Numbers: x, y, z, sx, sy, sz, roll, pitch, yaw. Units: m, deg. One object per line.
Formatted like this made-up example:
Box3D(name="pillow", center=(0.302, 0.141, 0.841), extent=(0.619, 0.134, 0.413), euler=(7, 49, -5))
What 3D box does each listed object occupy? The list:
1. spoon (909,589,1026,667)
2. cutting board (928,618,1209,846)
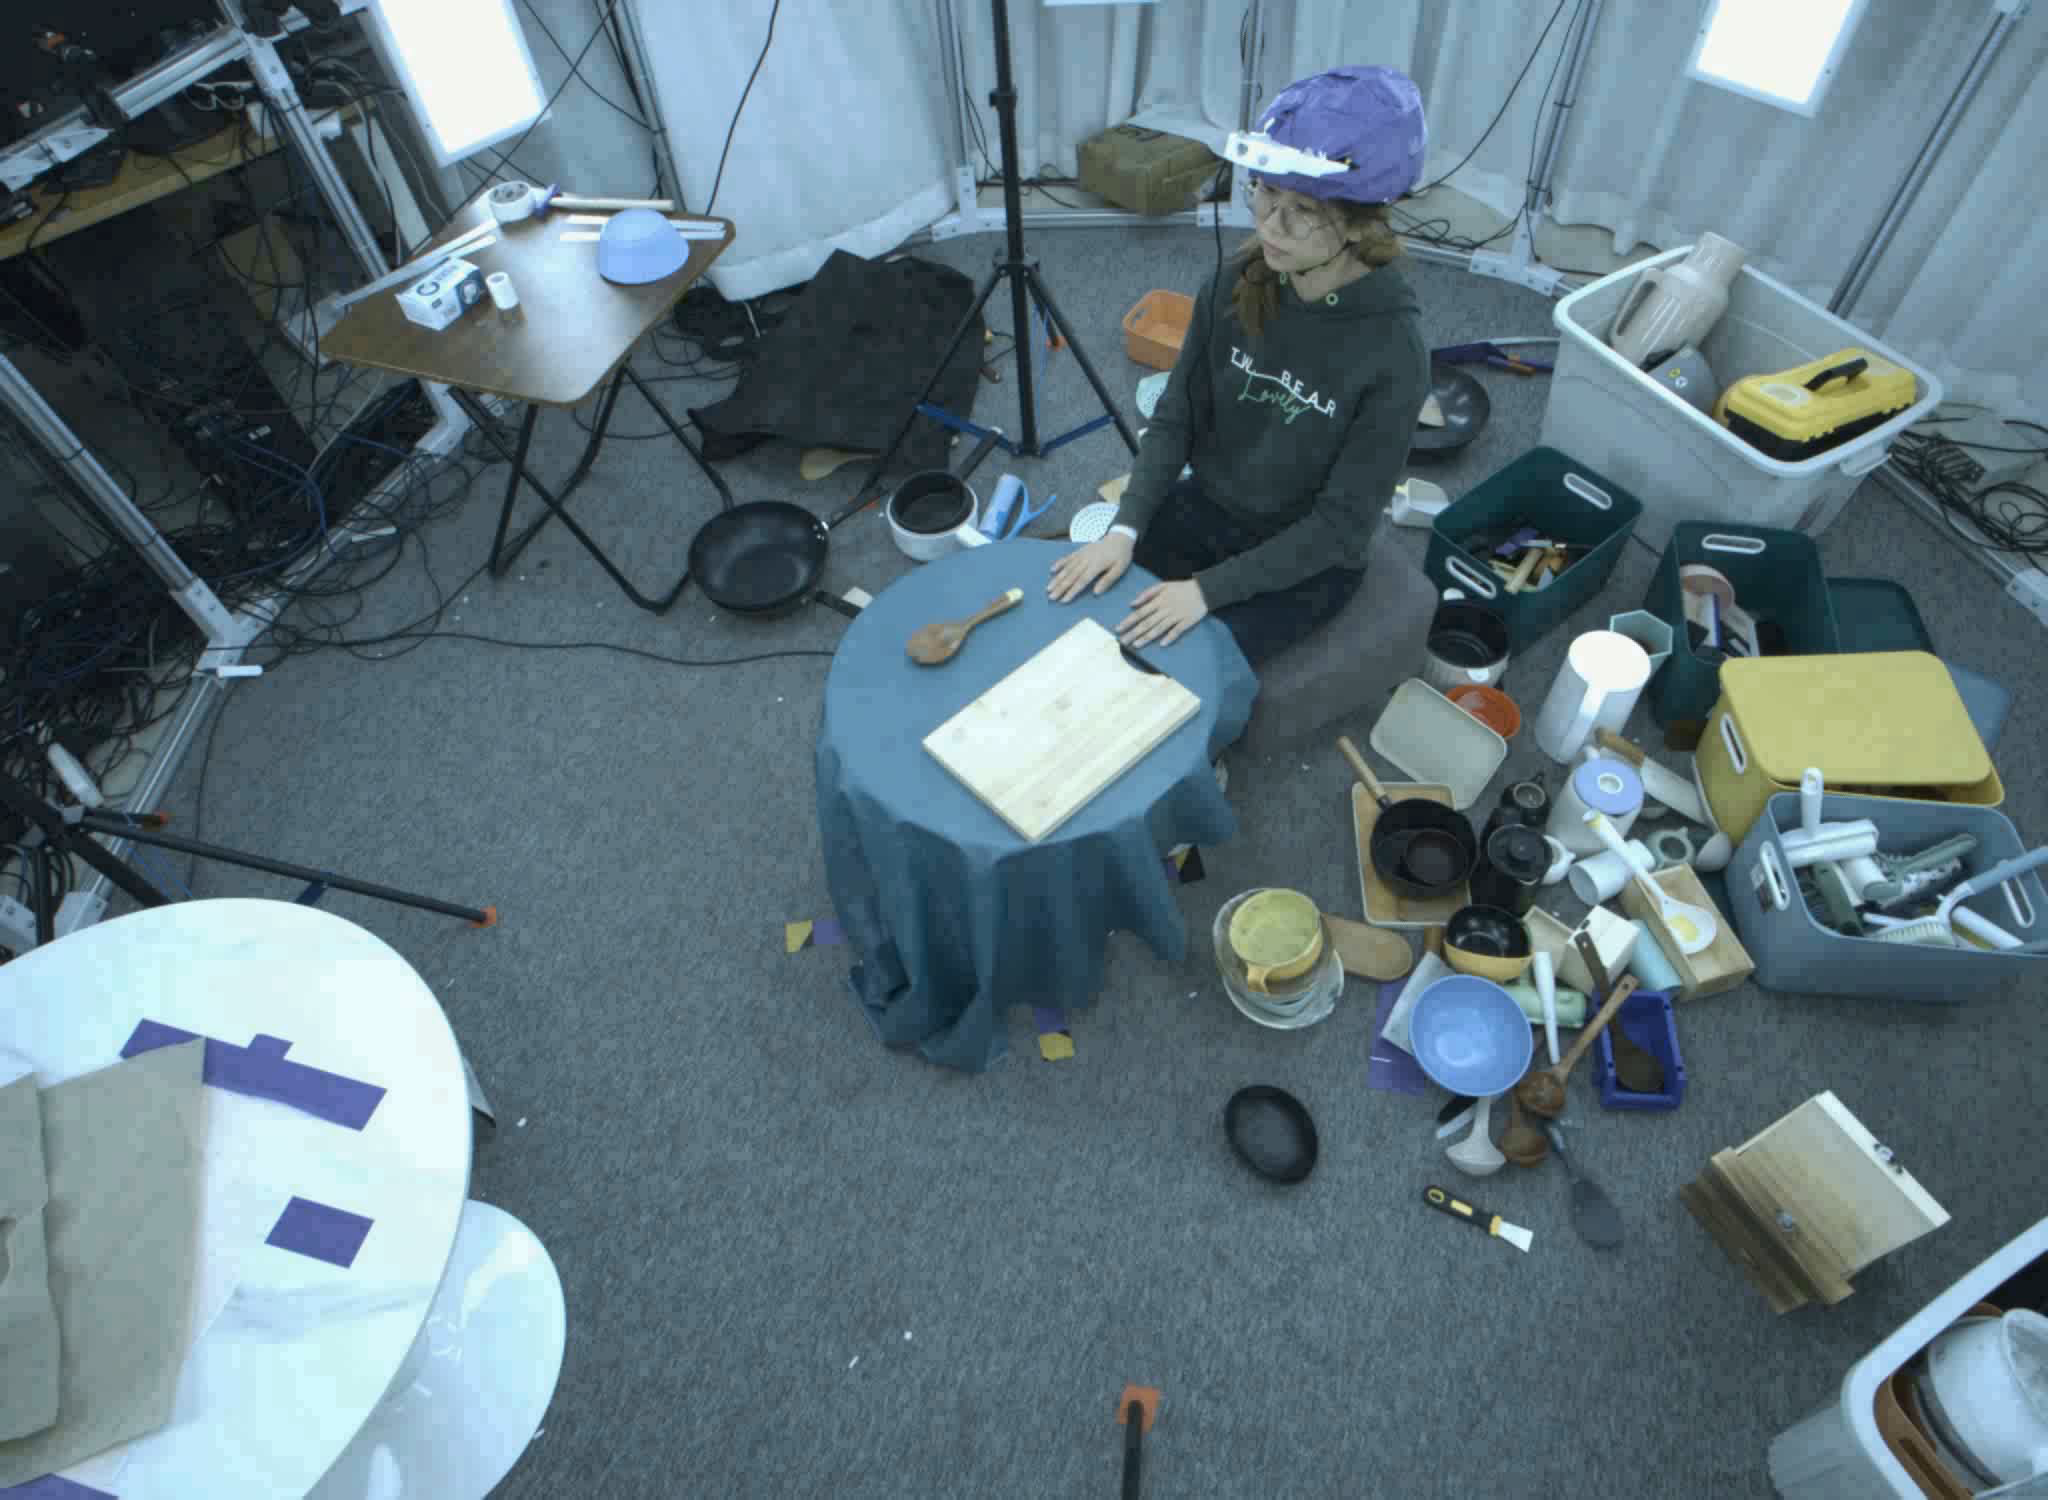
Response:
Box3D(name="spoon", center=(-0.086, -0.193, 1.925), extent=(0.217, 0.017, 0.074), euler=(-34, 59, -20))
Box3D(name="cutting board", center=(0.064, -0.037, 1.812), extent=(0.351, 0.024, 0.246), euler=(-39, 63, -23))
